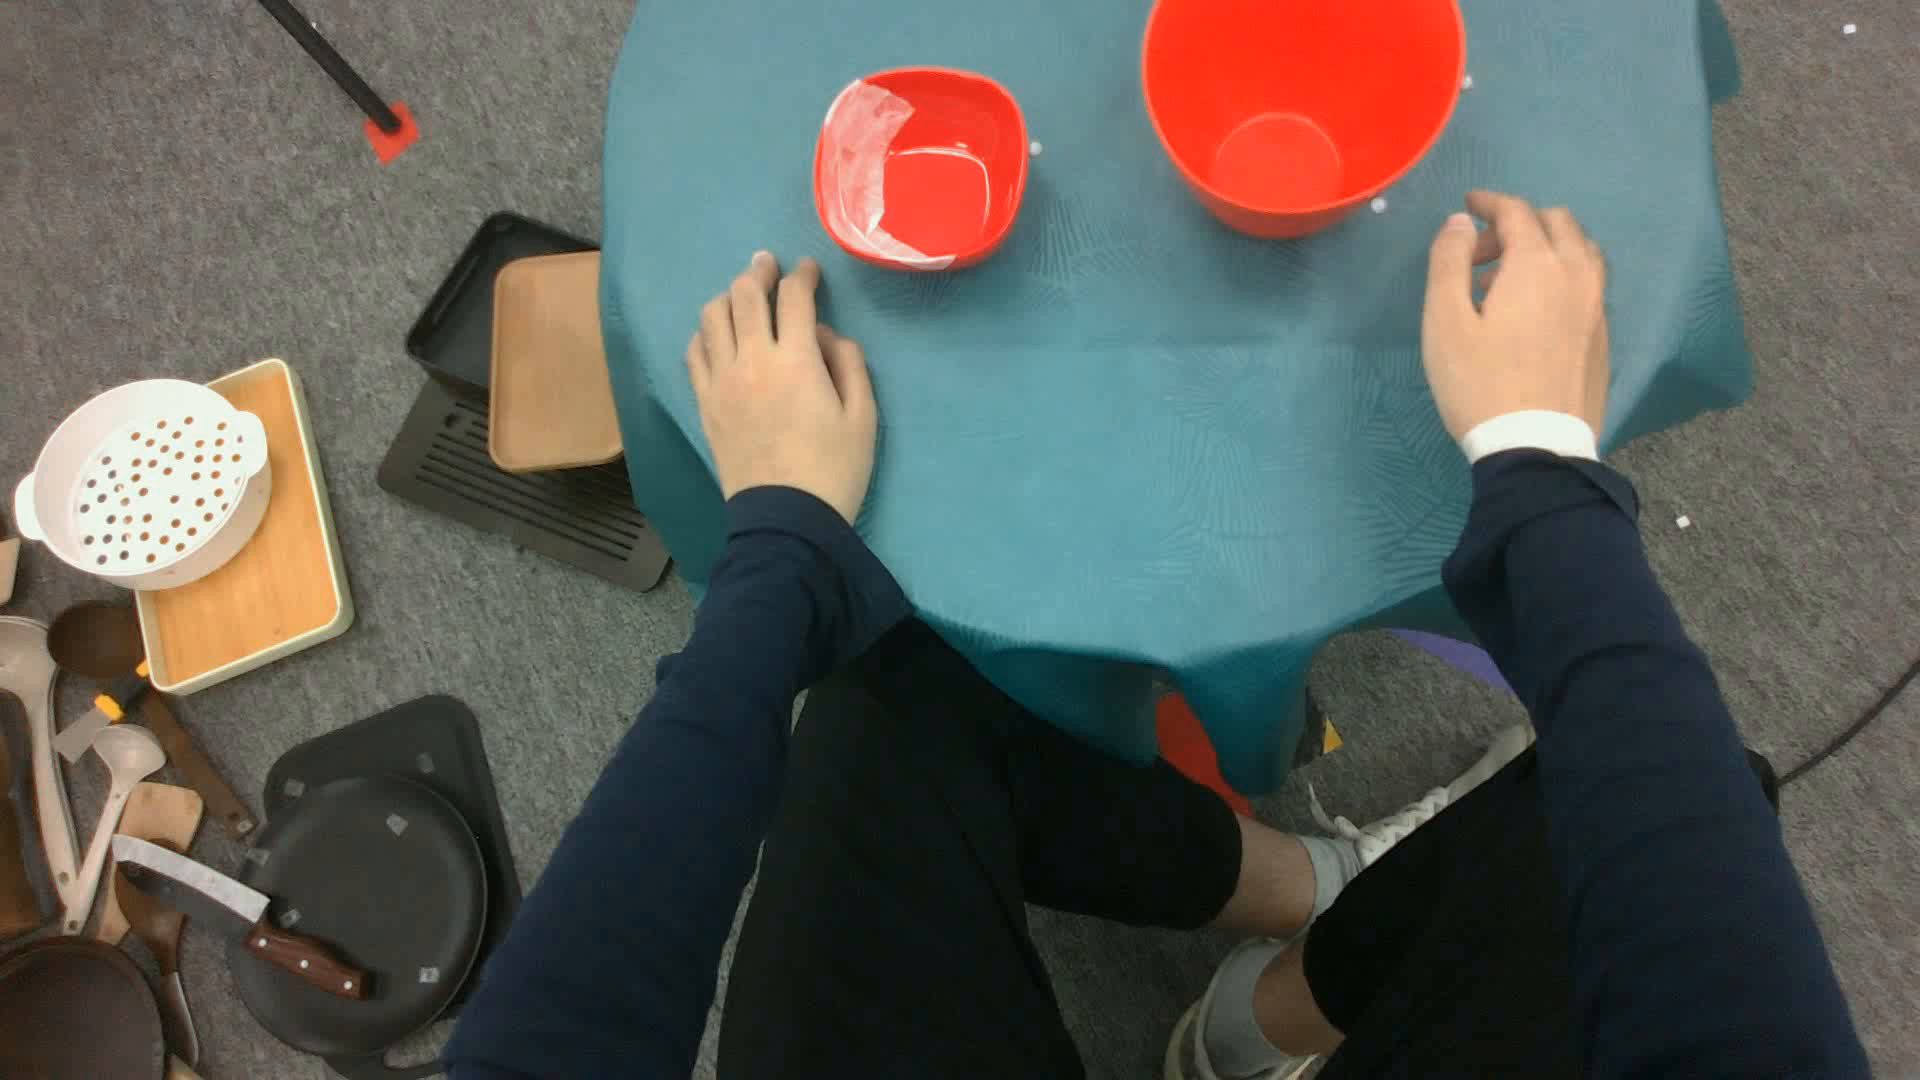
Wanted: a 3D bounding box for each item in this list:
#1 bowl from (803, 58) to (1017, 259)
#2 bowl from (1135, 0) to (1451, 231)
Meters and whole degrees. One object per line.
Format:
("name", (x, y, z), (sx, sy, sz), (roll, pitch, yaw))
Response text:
("bowl", (-0.024, -0.193, 0.727), (0.119, 0.051, 0.119), (-1, 75, 4))
("bowl", (0.161, -0.222, 0.693), (0.148, 0.104, 0.148), (-1, 76, 5))
